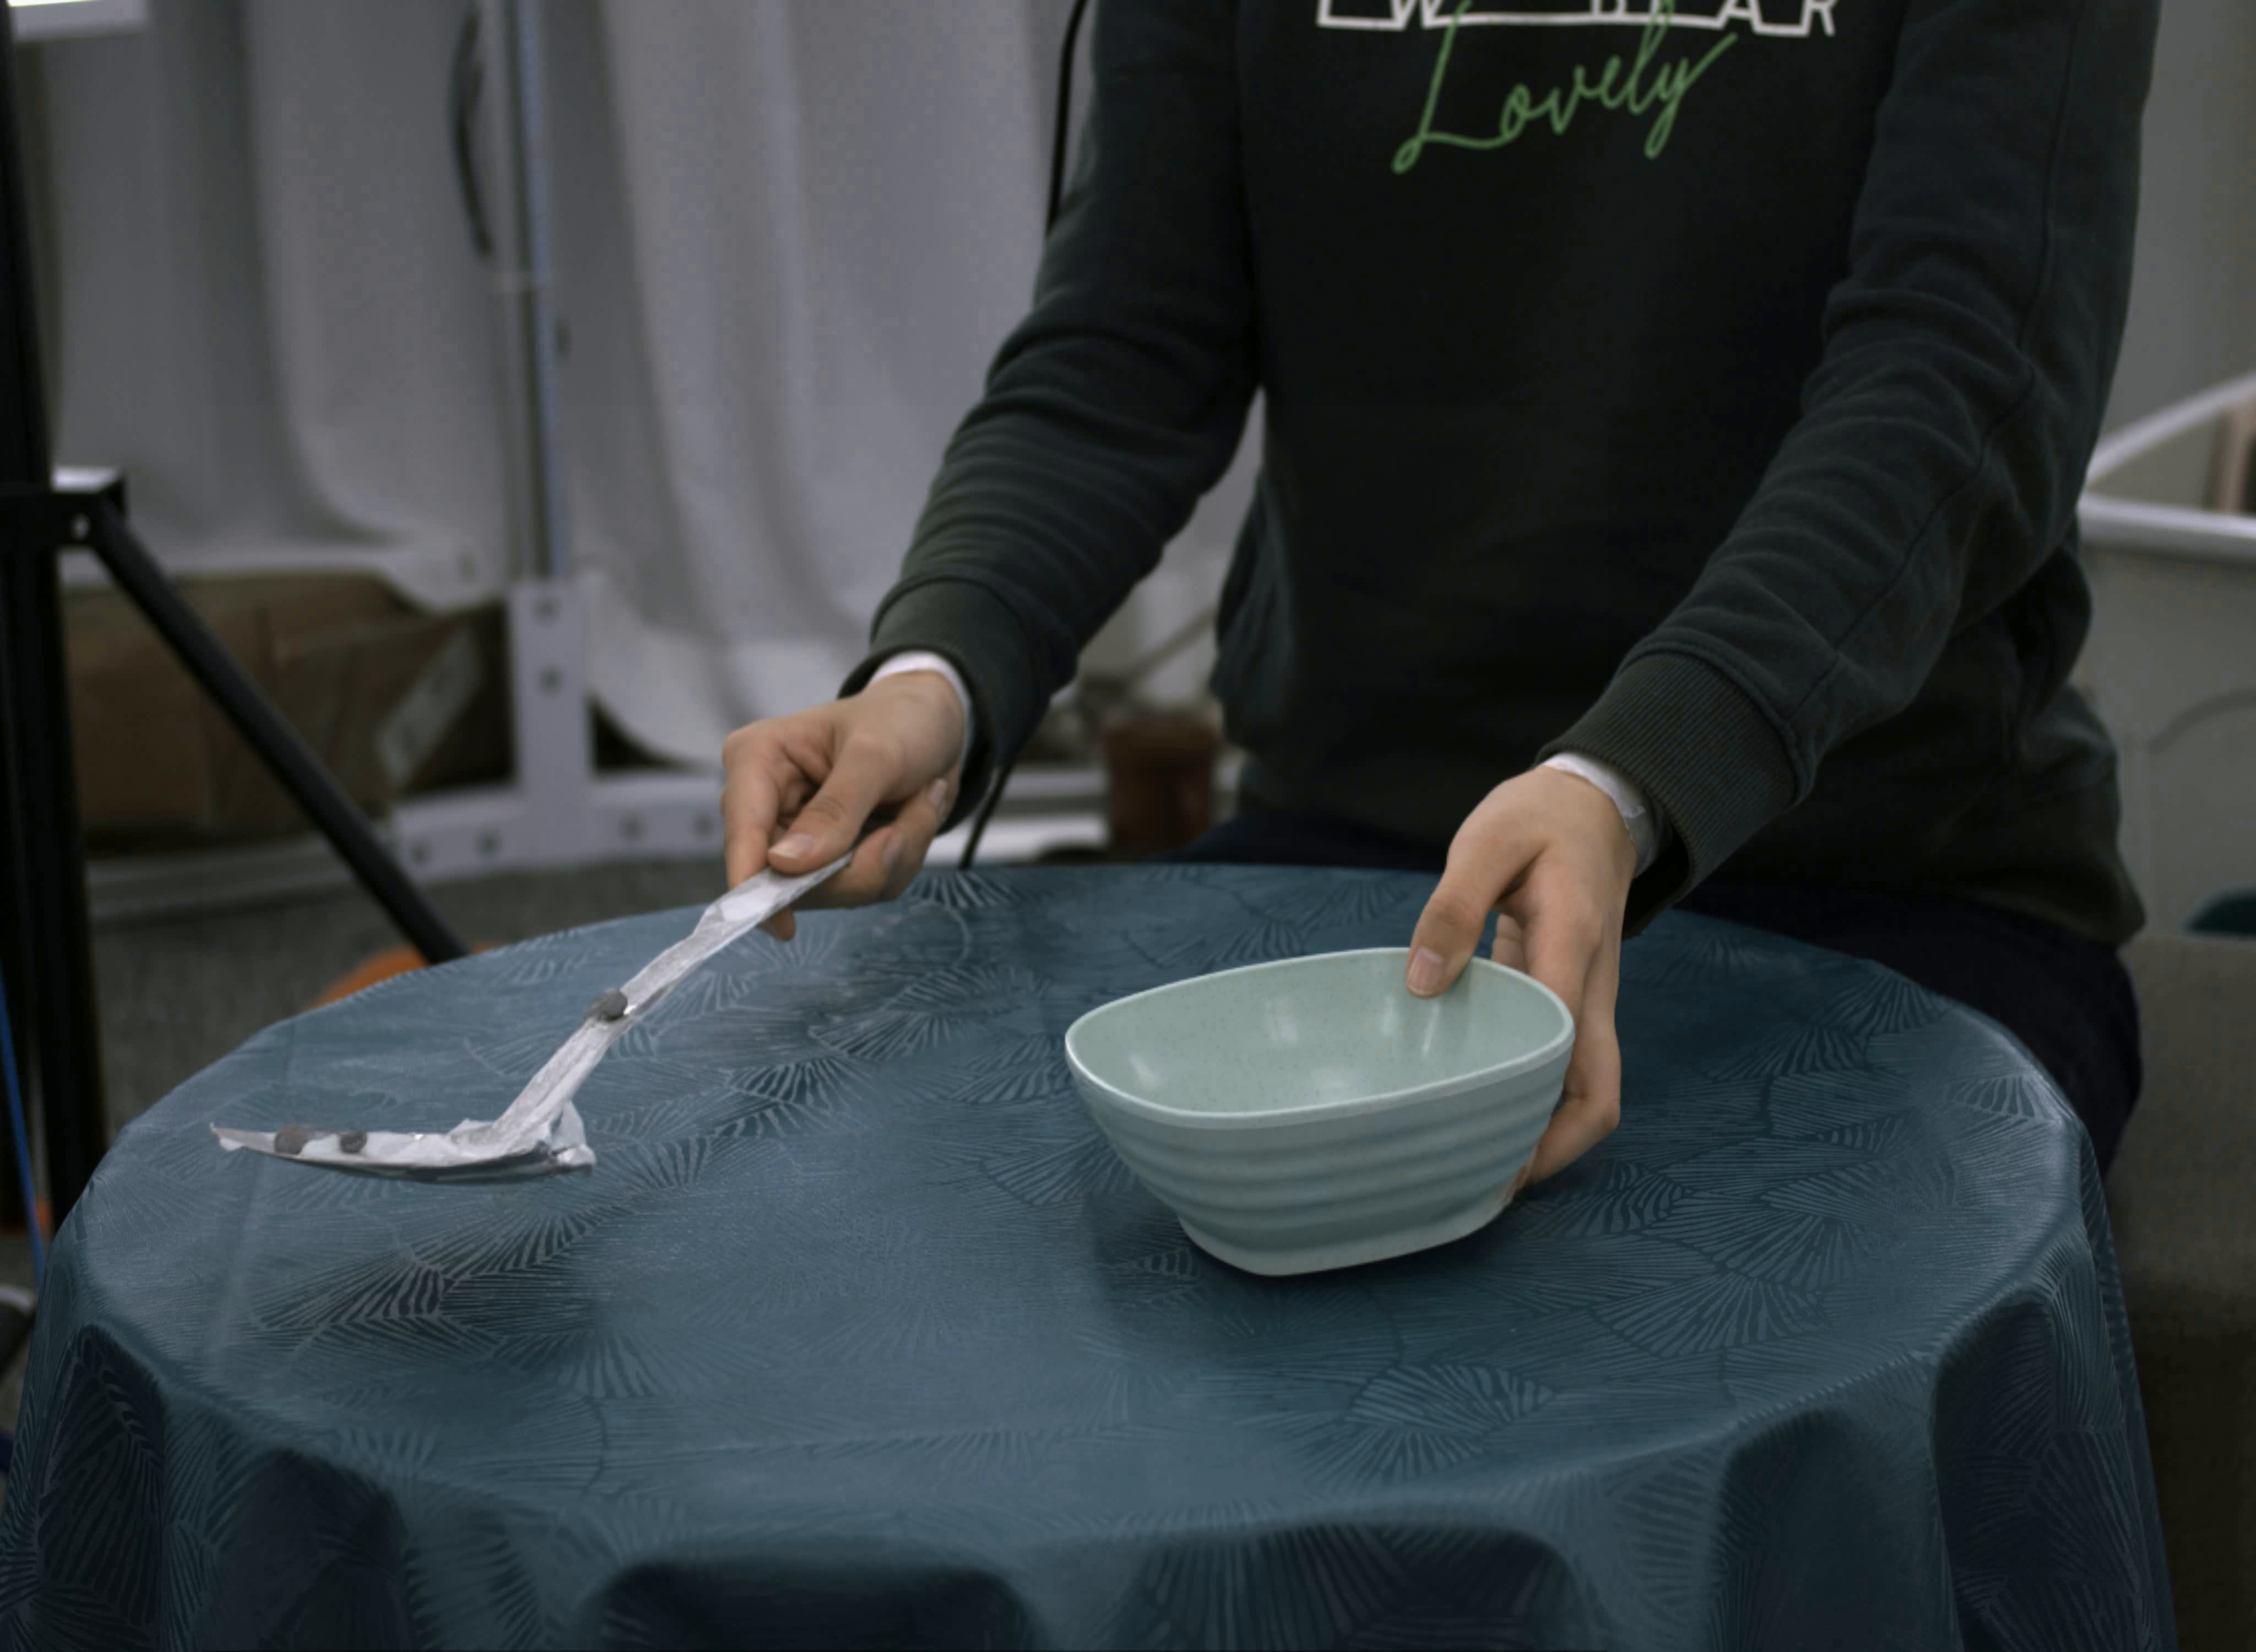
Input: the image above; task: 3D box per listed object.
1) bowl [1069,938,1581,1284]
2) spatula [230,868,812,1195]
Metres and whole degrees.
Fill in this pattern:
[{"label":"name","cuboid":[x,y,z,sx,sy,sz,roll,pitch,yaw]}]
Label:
[{"label":"bowl","cuboid":[0.058,0.085,1.509,0.151,0.058,0.152,-7,18,1]},{"label":"spatula","cuboid":[-0.159,0.050,1.594,0.099,0.045,0.362,14,20,11]}]
